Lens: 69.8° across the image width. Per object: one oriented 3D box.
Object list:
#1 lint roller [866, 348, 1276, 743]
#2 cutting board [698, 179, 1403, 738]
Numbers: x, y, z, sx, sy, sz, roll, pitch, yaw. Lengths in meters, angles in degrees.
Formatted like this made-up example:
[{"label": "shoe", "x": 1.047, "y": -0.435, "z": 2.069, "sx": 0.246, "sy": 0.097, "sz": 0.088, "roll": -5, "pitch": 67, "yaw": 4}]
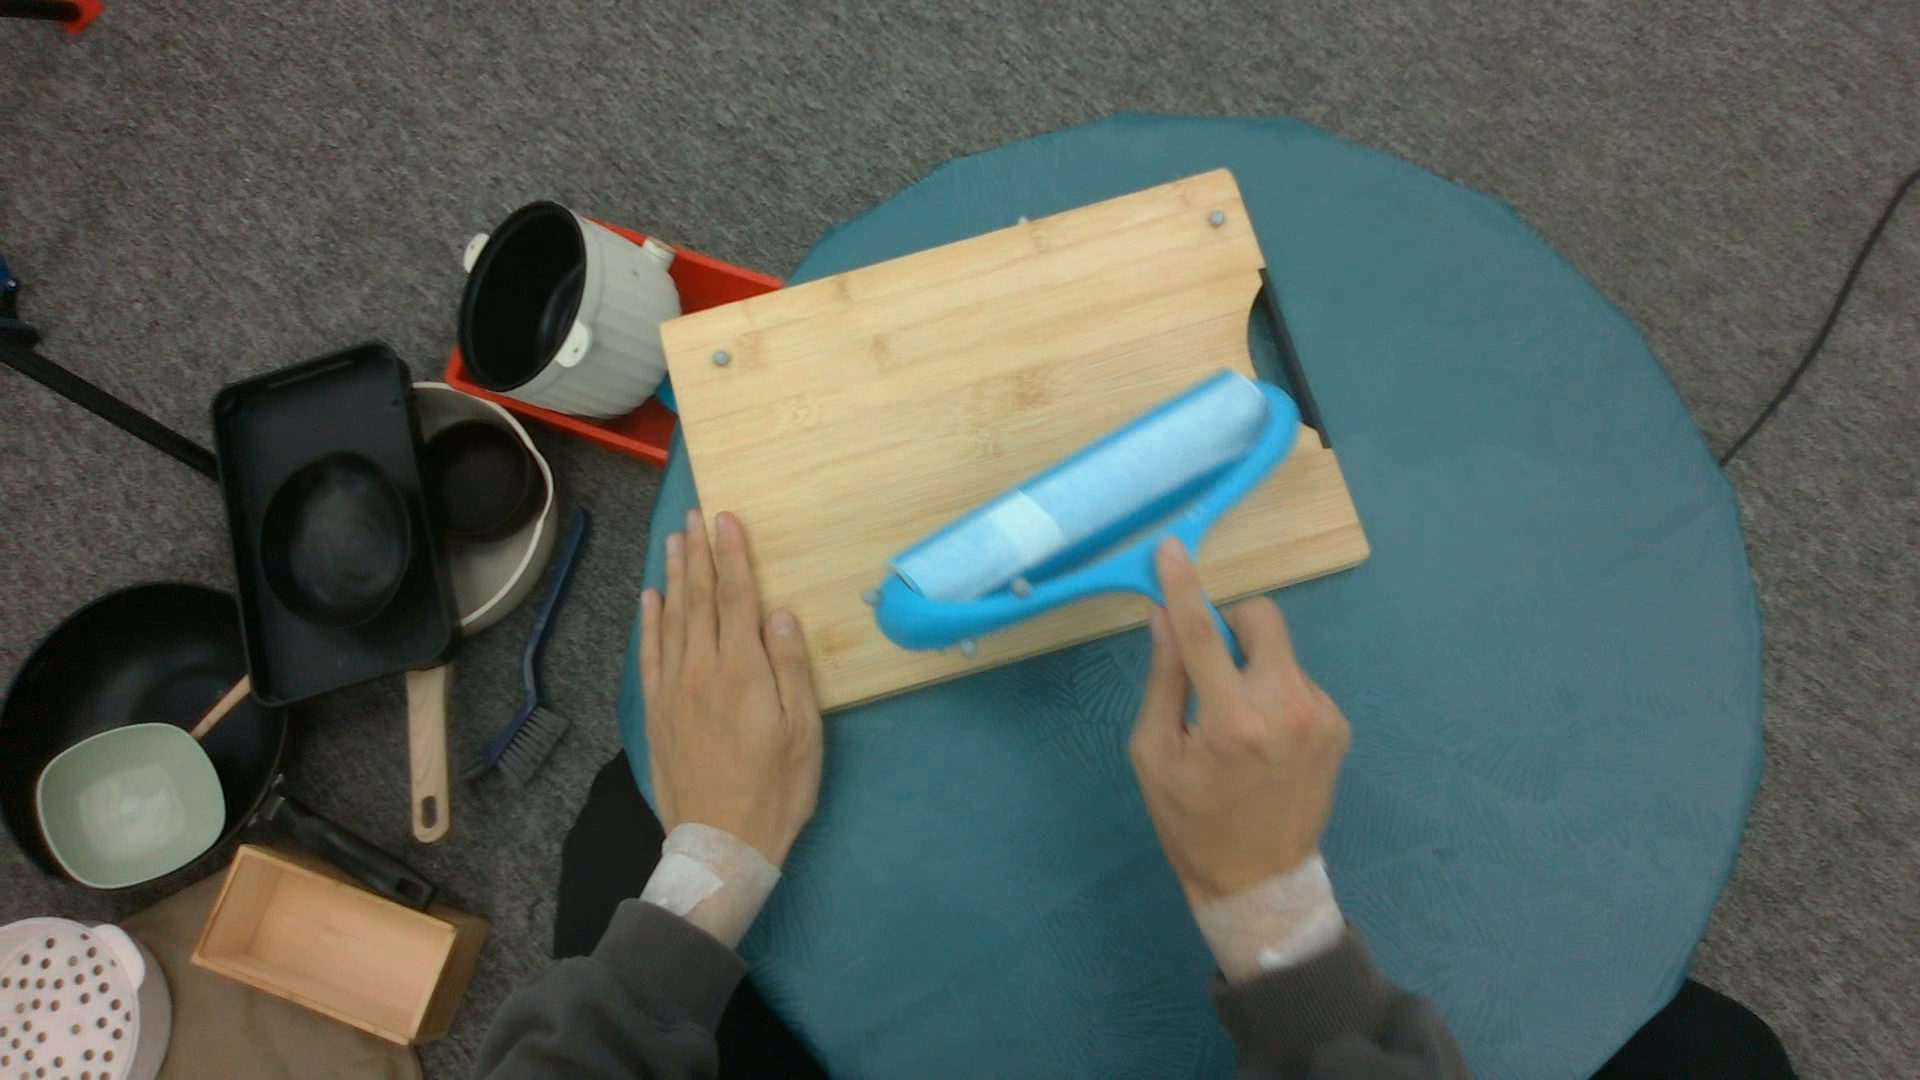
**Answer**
[{"label": "lint roller", "x": 0.088, "y": 0.014, "z": 0.651, "sx": 0.229, "sy": 0.067, "sz": 0.180, "roll": -34, "pitch": 60, "yaw": -14}, {"label": "cutting board", "x": 0.040, "y": -0.051, "z": 0.776, "sx": 0.348, "sy": 0.023, "sz": 0.251, "roll": -17, "pitch": 75, "yaw": 0}]
